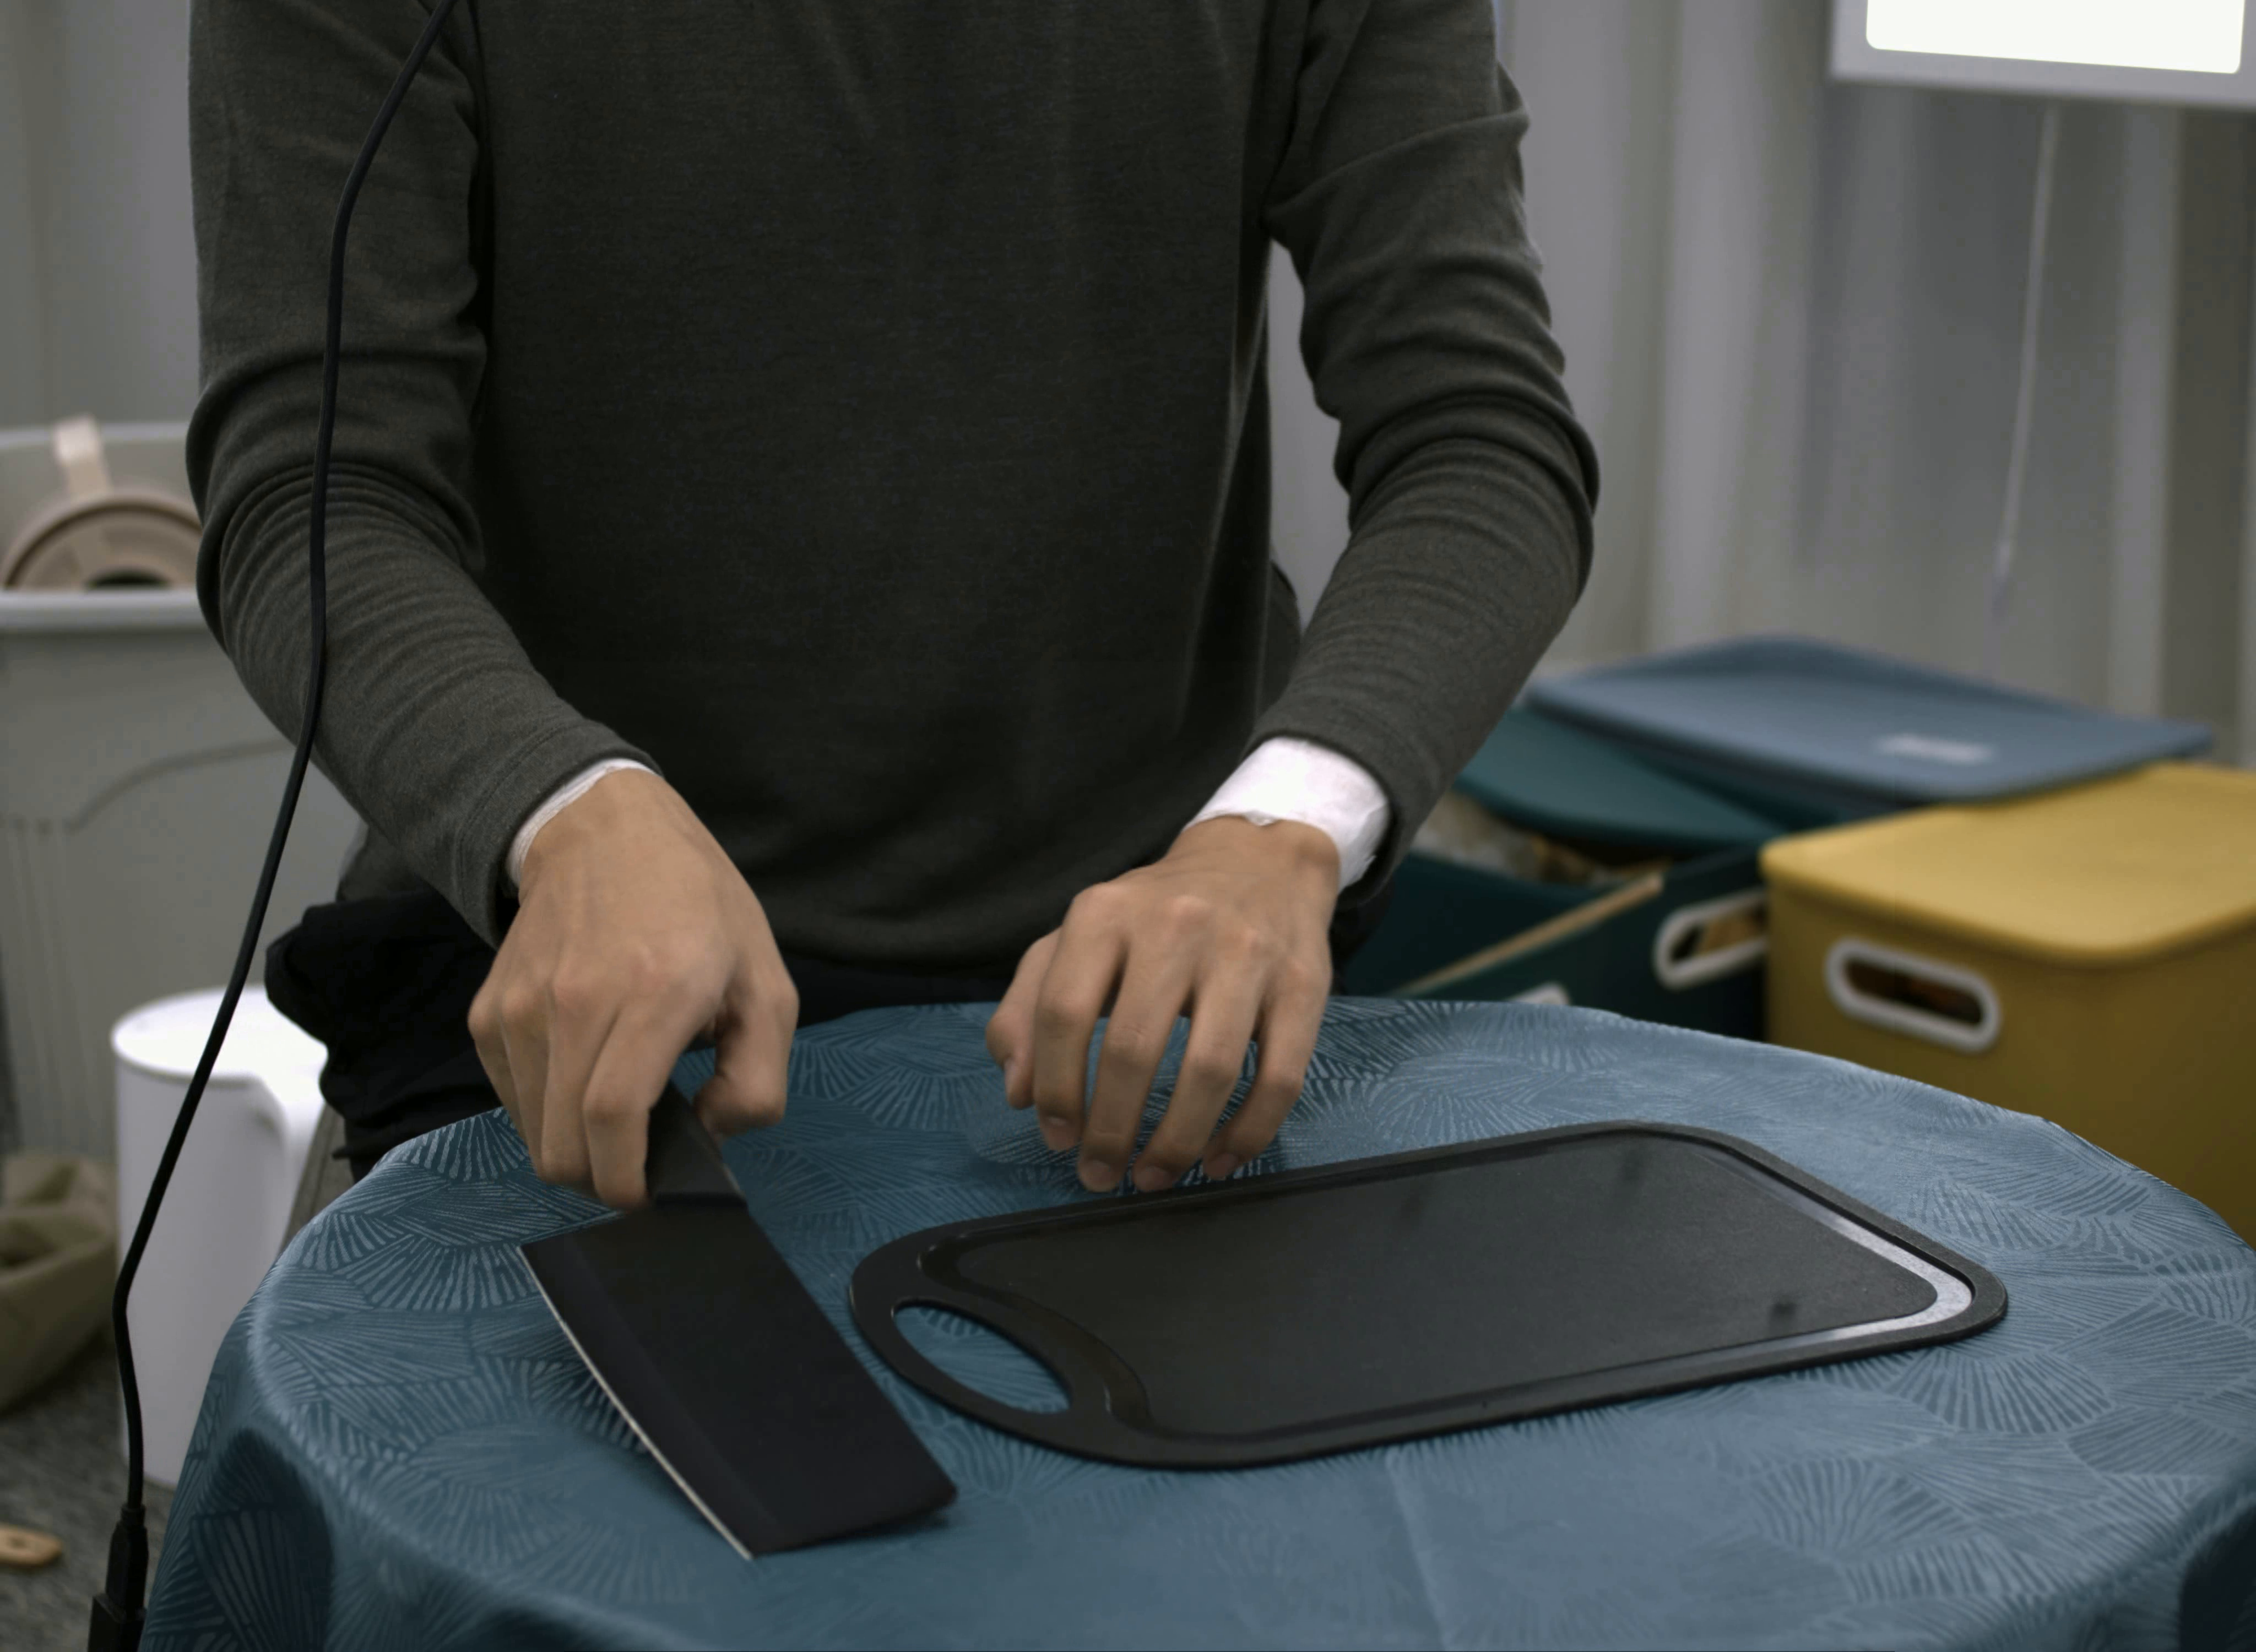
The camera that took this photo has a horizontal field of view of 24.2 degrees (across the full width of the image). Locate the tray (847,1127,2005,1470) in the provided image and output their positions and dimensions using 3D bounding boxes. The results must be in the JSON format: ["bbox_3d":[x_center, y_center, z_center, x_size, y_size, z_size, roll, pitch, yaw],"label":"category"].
[{"bbox_3d":[0.081,0.134,1.540,0.326,0.010,0.208,-7,16,-25],"label":"tray"}]

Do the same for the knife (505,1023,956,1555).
[{"bbox_3d":[-0.128,0.125,1.479,0.081,0.021,0.298,-9,26,-17],"label":"knife"}]
